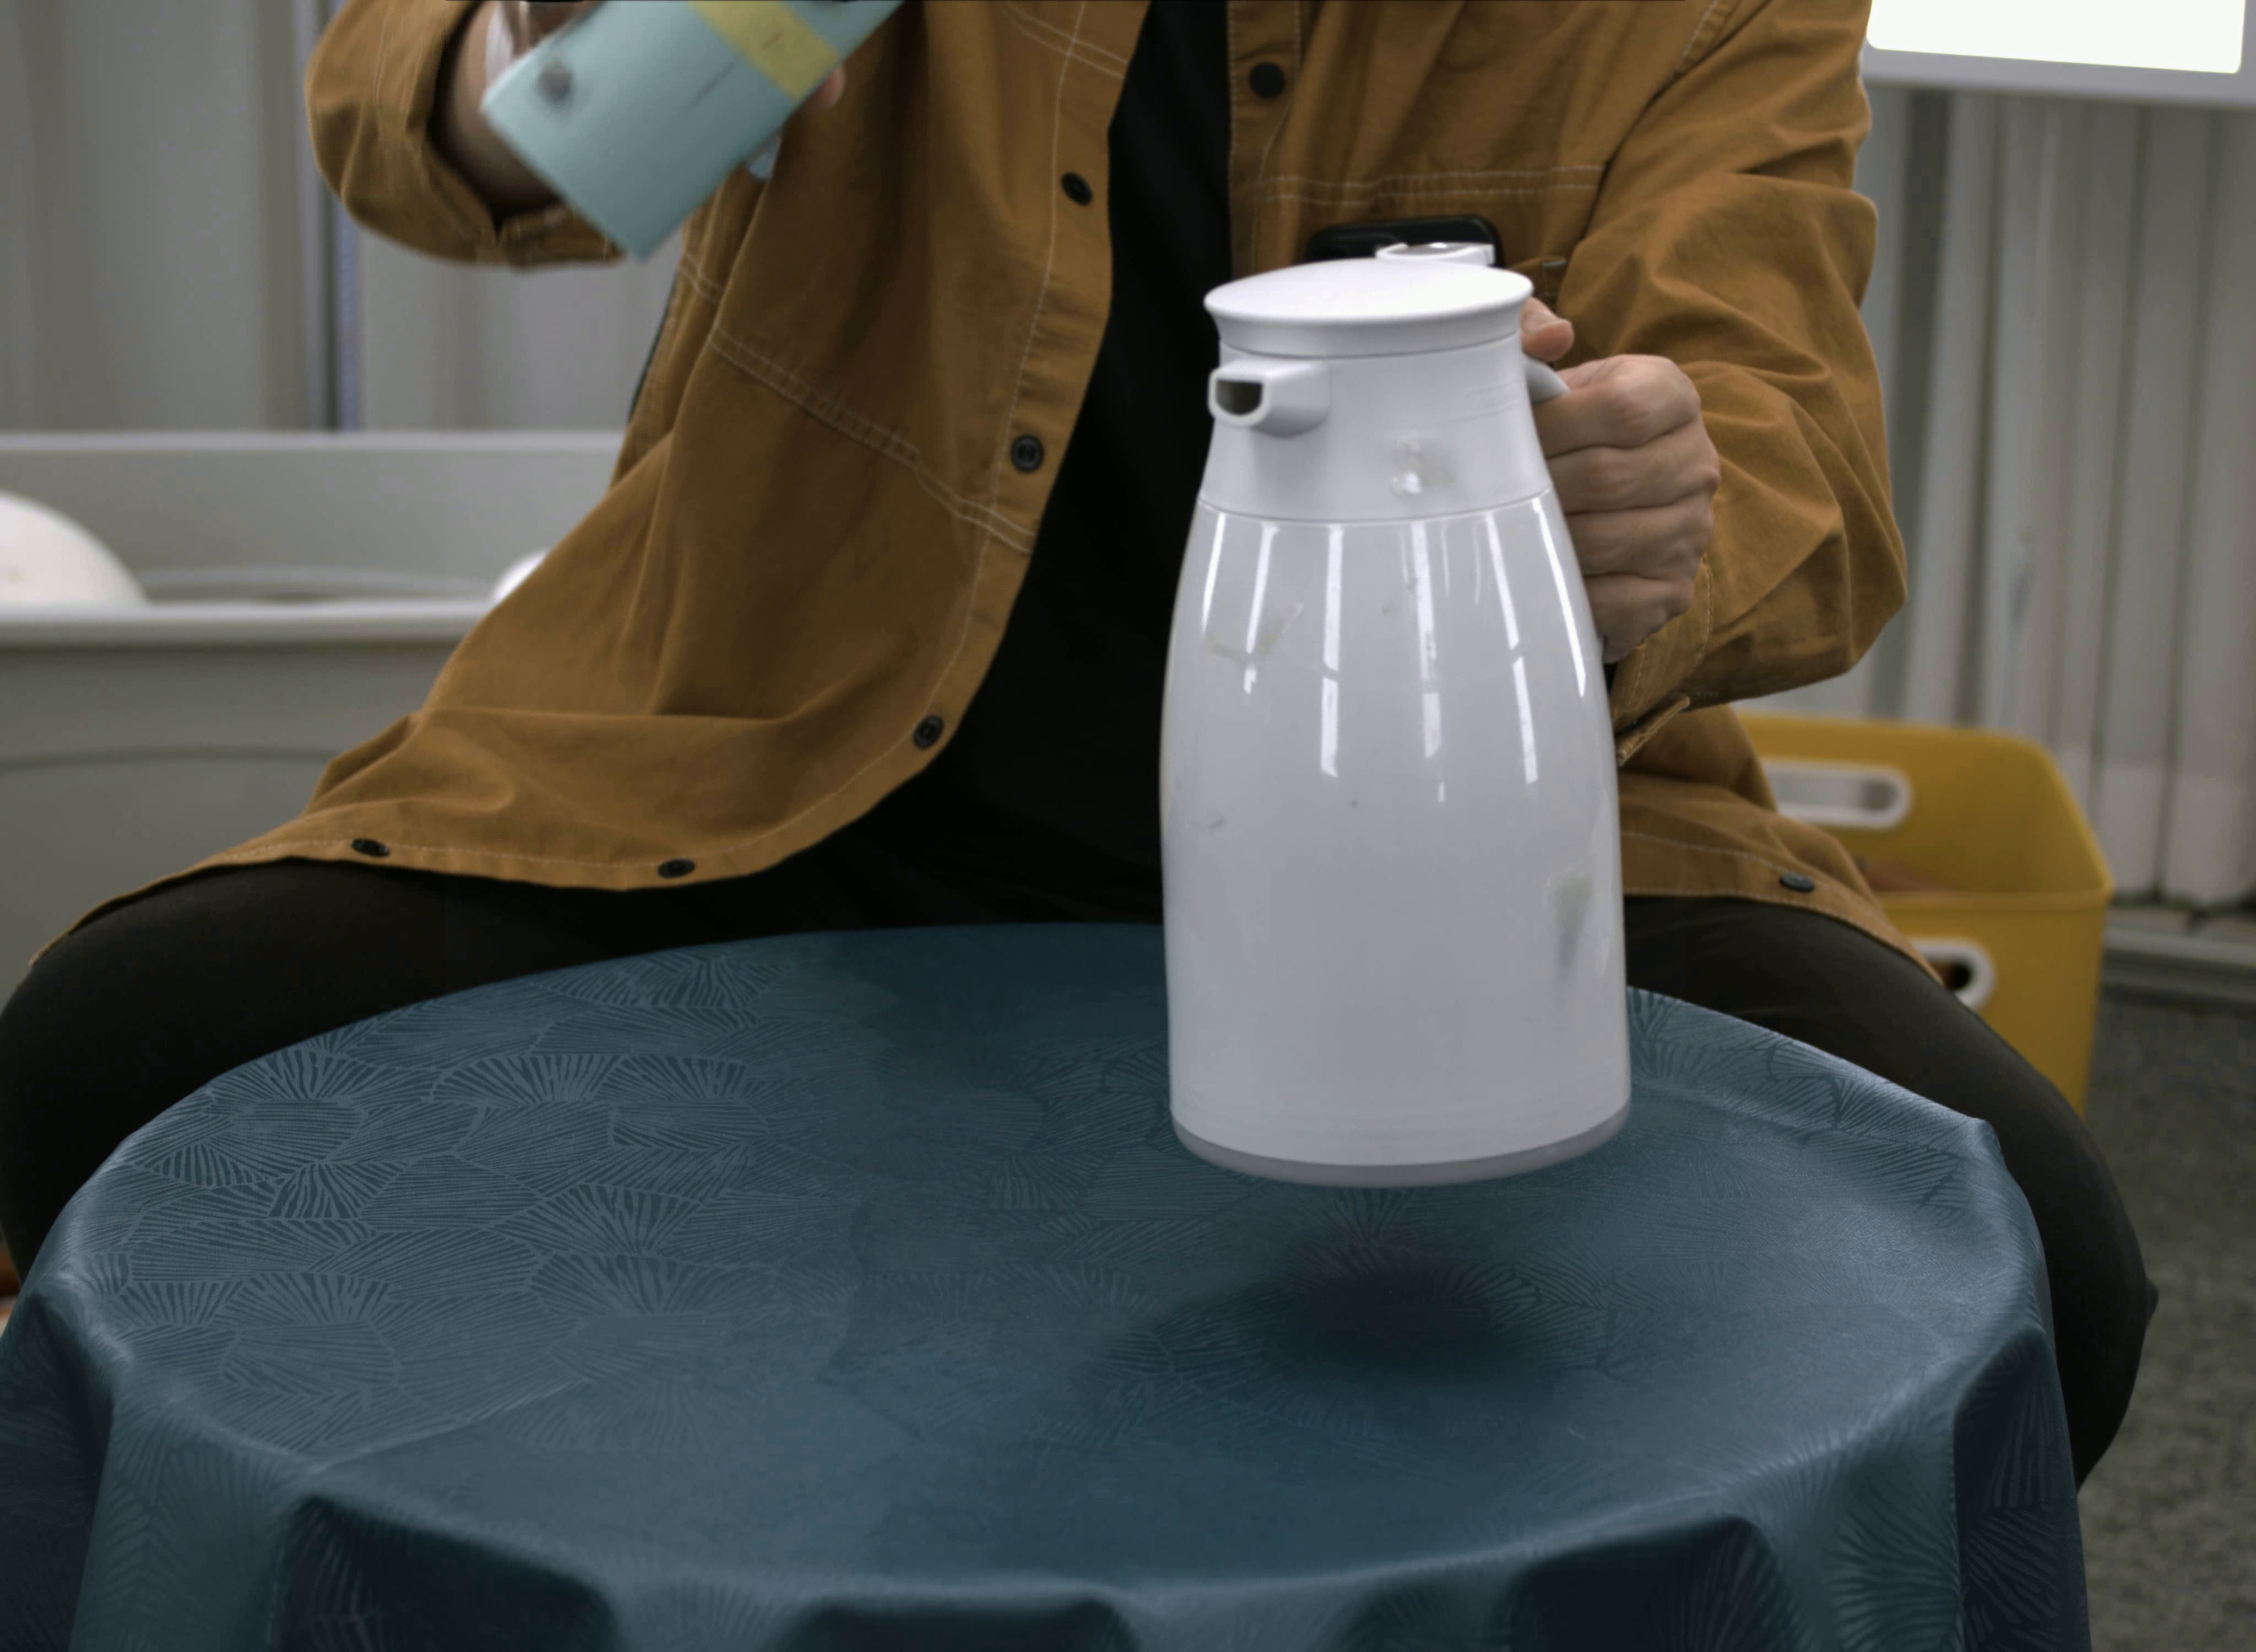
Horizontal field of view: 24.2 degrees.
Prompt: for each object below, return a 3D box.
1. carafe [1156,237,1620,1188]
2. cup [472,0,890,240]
[{"bbox_3d":[0.083,-0.040,1.492,0.131,0.250,0.168,10,18,36],"label":"carafe"},{"bbox_3d":[-0.109,-0.226,1.422,0.132,0.067,0.066,-42,18,4],"label":"cup"}]
